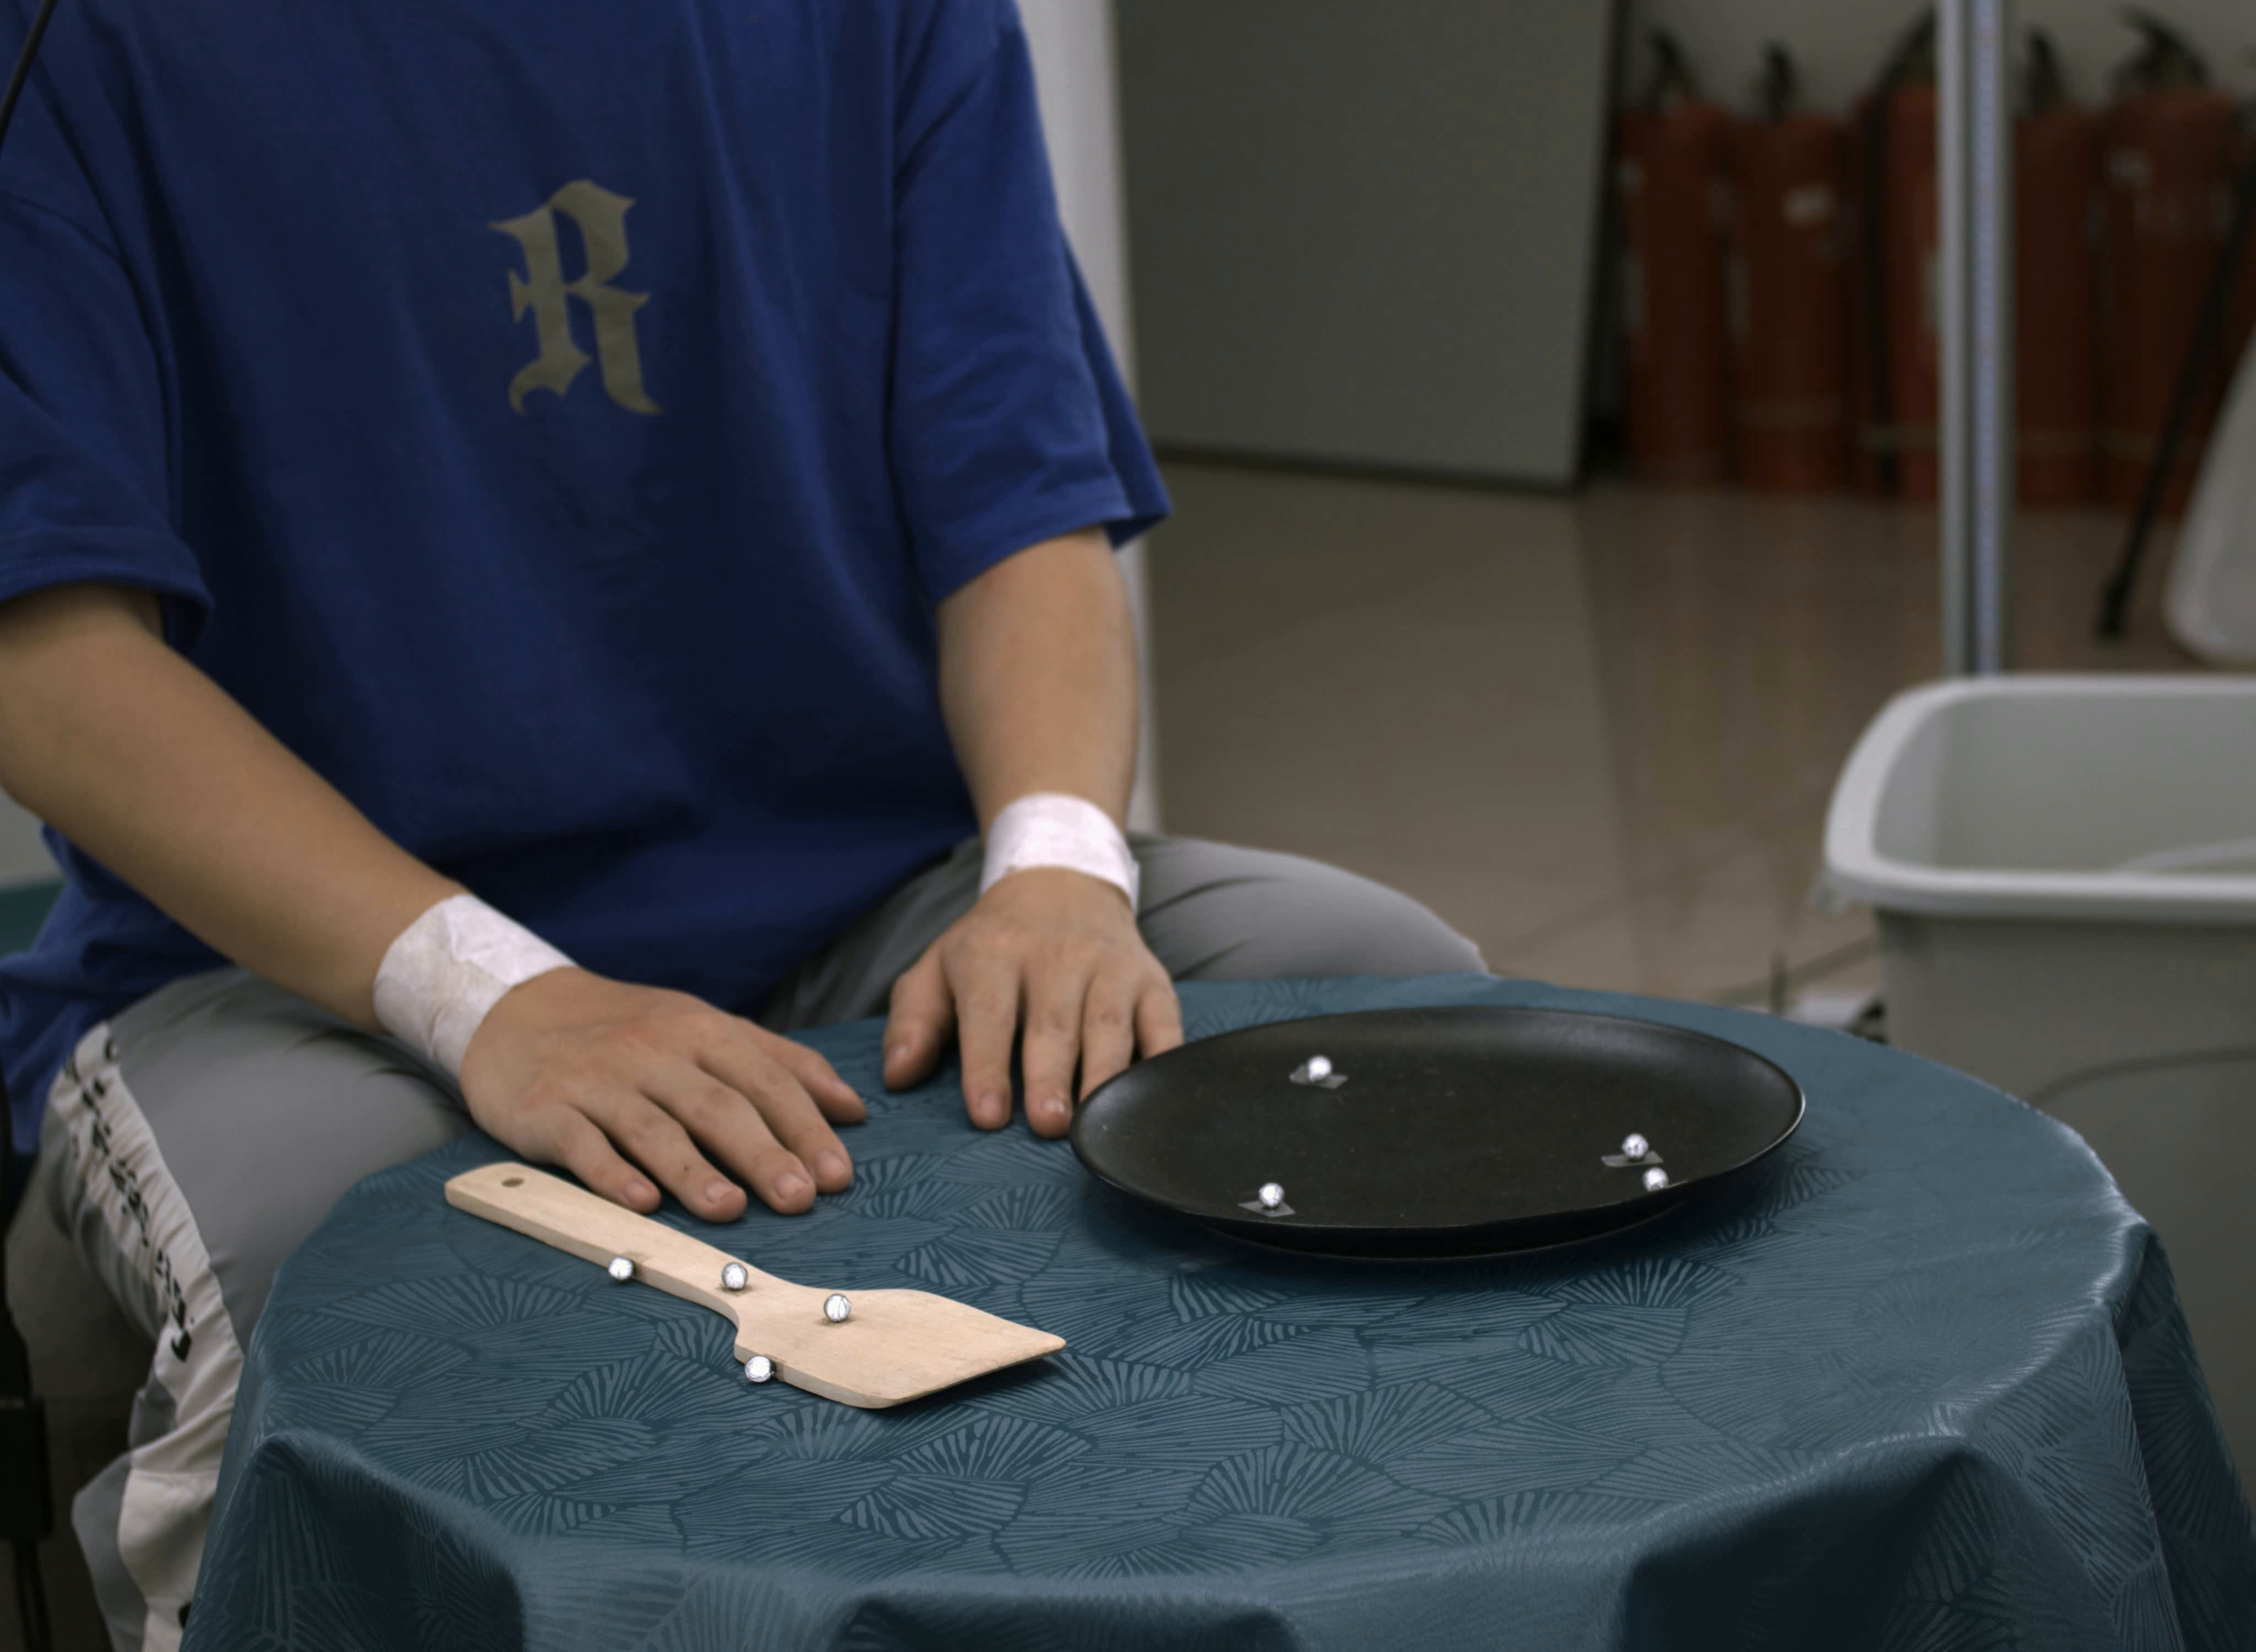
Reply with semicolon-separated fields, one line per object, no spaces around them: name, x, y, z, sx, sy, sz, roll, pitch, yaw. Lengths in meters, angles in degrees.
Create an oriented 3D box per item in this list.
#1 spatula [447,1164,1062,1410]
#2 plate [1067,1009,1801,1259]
spatula;-0.133;0.142;1.705;0.071;0.011;0.296;-15;18;-35
plate;0.101;0.103;1.767;0.241;0.024;0.245;-4;14;0
